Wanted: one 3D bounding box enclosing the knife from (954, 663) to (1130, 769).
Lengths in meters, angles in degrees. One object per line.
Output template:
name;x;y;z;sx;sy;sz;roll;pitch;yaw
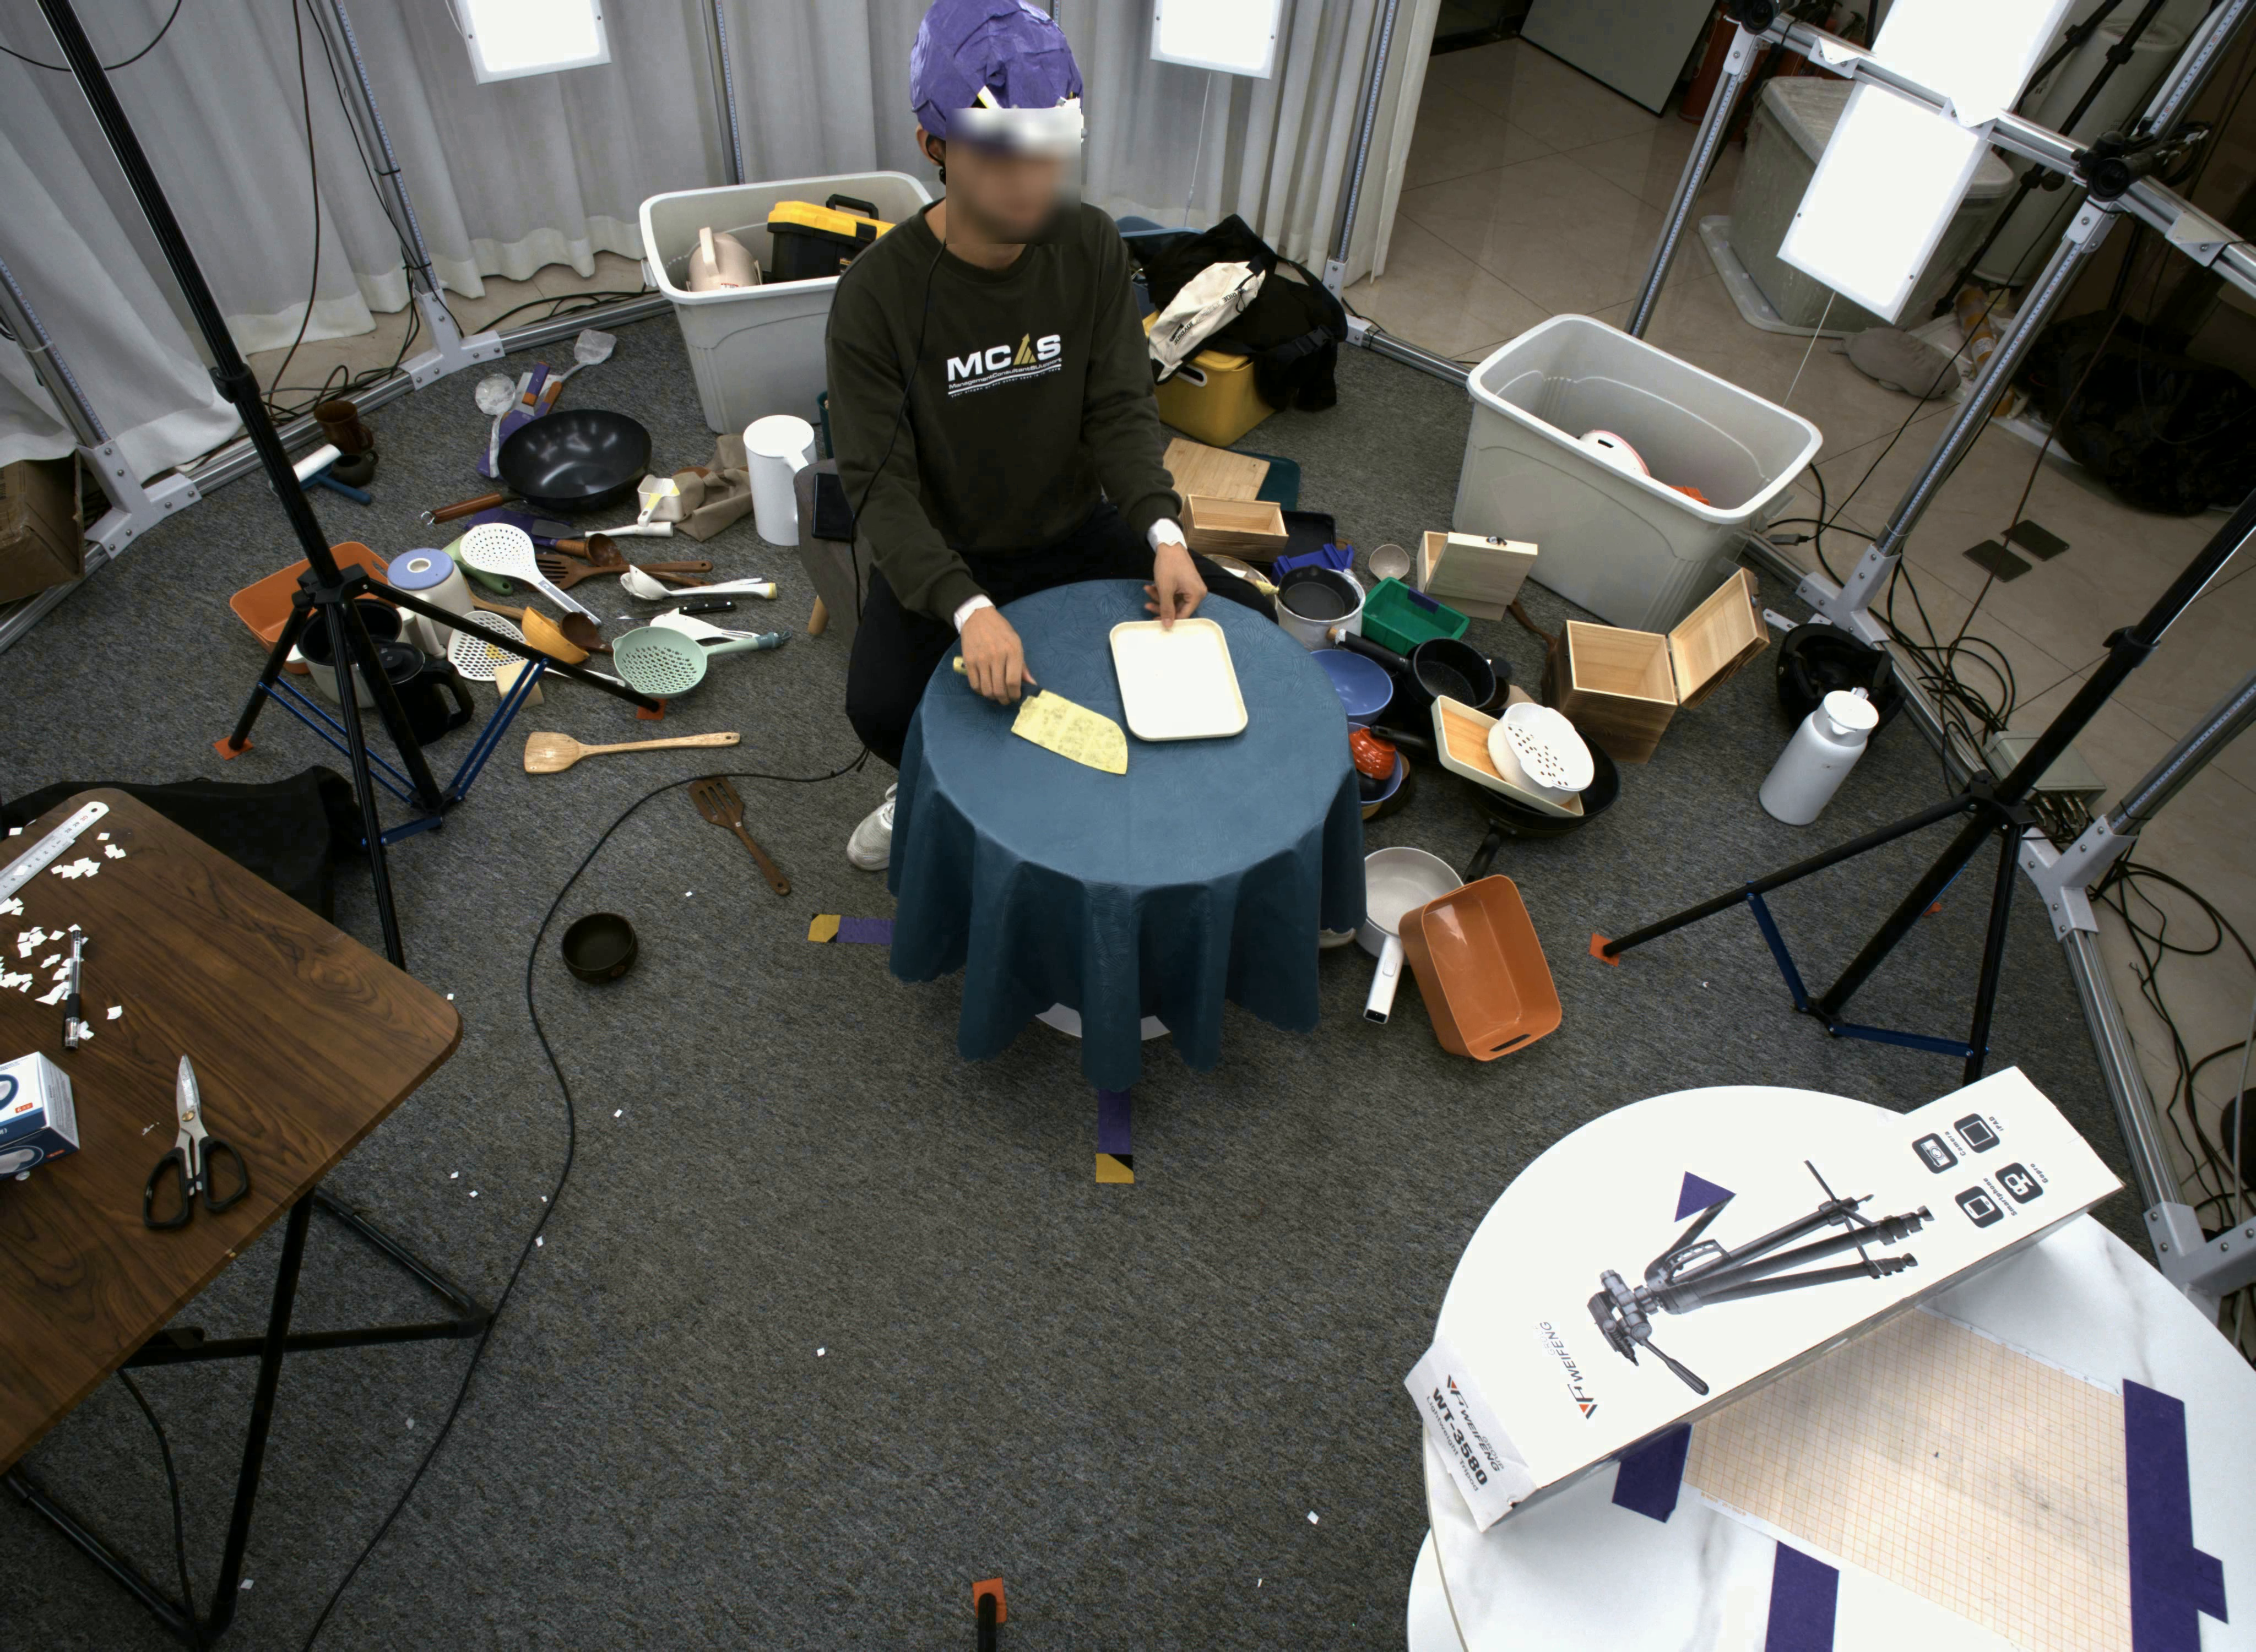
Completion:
knife;-0.123;-0.152;1.766;0.292;0.027;0.082;27;75;16

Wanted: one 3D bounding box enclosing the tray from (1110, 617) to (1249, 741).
tray;0.071;-0.212;1.844;0.171;0.017;0.246;-5;49;-7
